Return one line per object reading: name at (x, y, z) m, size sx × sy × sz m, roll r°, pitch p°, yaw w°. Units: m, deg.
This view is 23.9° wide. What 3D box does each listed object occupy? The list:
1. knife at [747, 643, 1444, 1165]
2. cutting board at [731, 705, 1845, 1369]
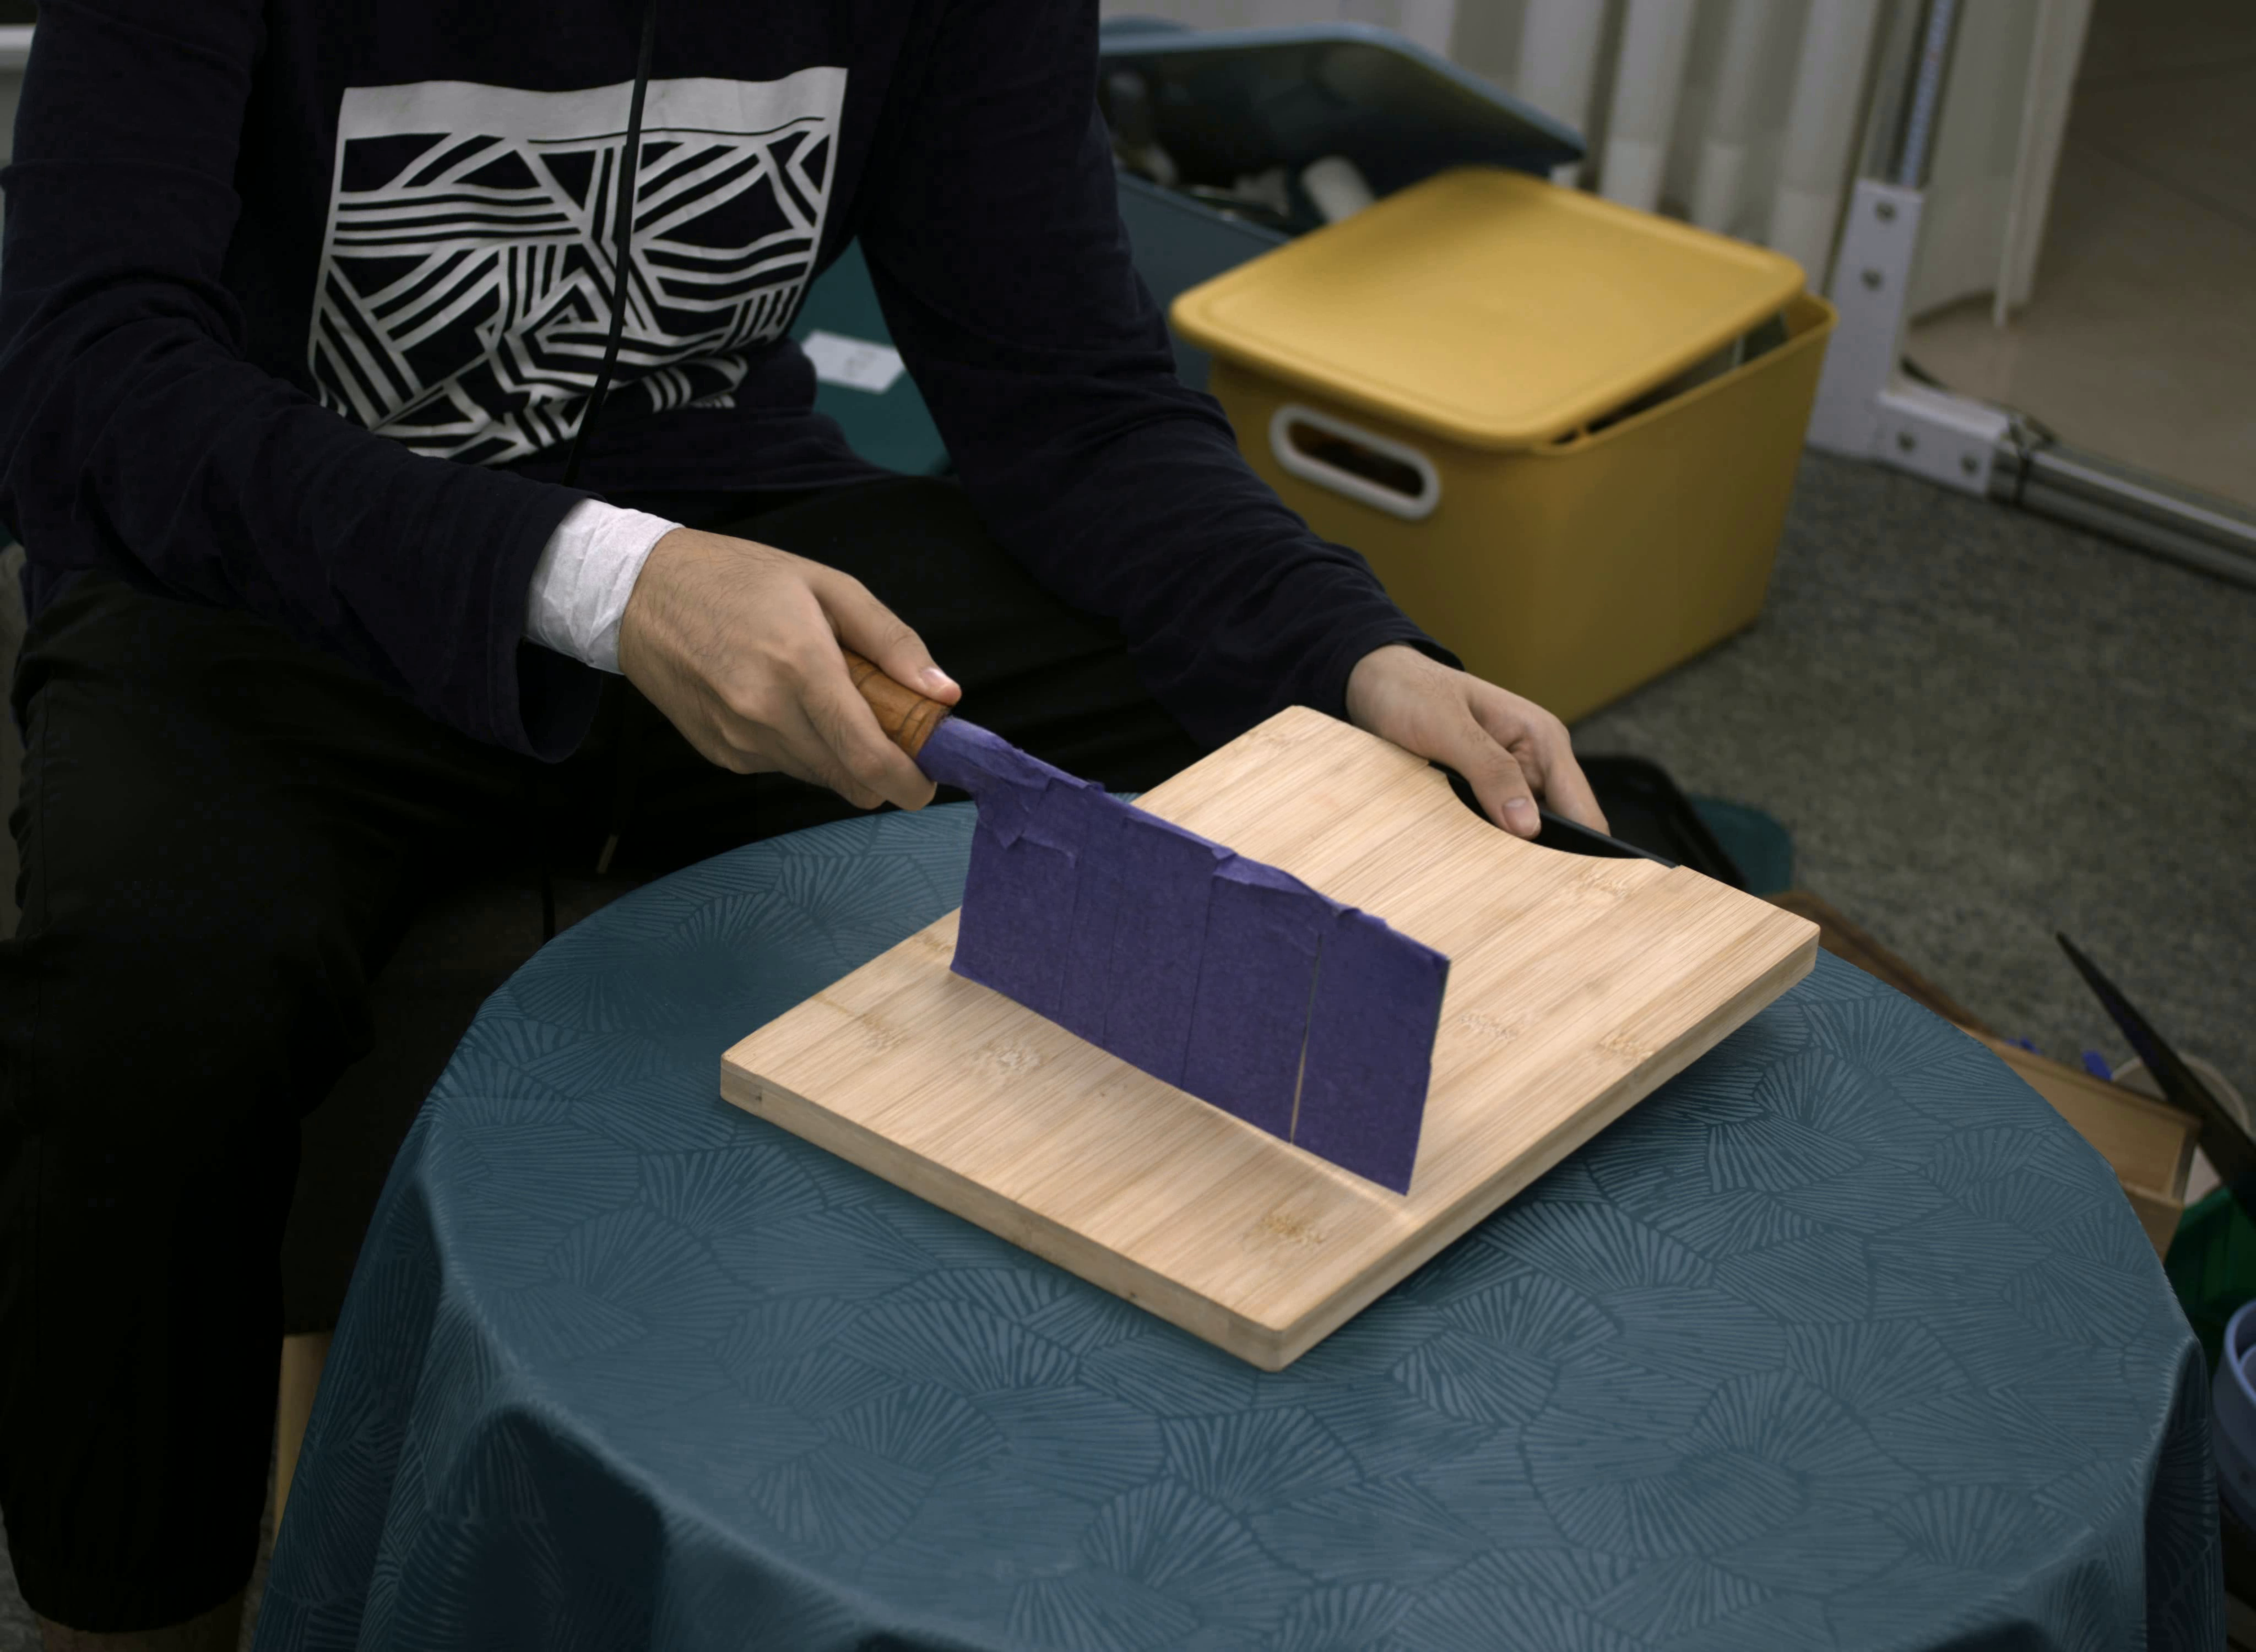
knife at (-0.020, 0.027, 1.830) m, size 0.317 × 0.103 × 0.032 m, roll 26°, pitch 25°, yaw 38°
cutting board at (0.060, 0.064, 1.890) m, size 0.252 × 0.023 × 0.348 m, roll 23°, pitch 36°, yaw 30°
